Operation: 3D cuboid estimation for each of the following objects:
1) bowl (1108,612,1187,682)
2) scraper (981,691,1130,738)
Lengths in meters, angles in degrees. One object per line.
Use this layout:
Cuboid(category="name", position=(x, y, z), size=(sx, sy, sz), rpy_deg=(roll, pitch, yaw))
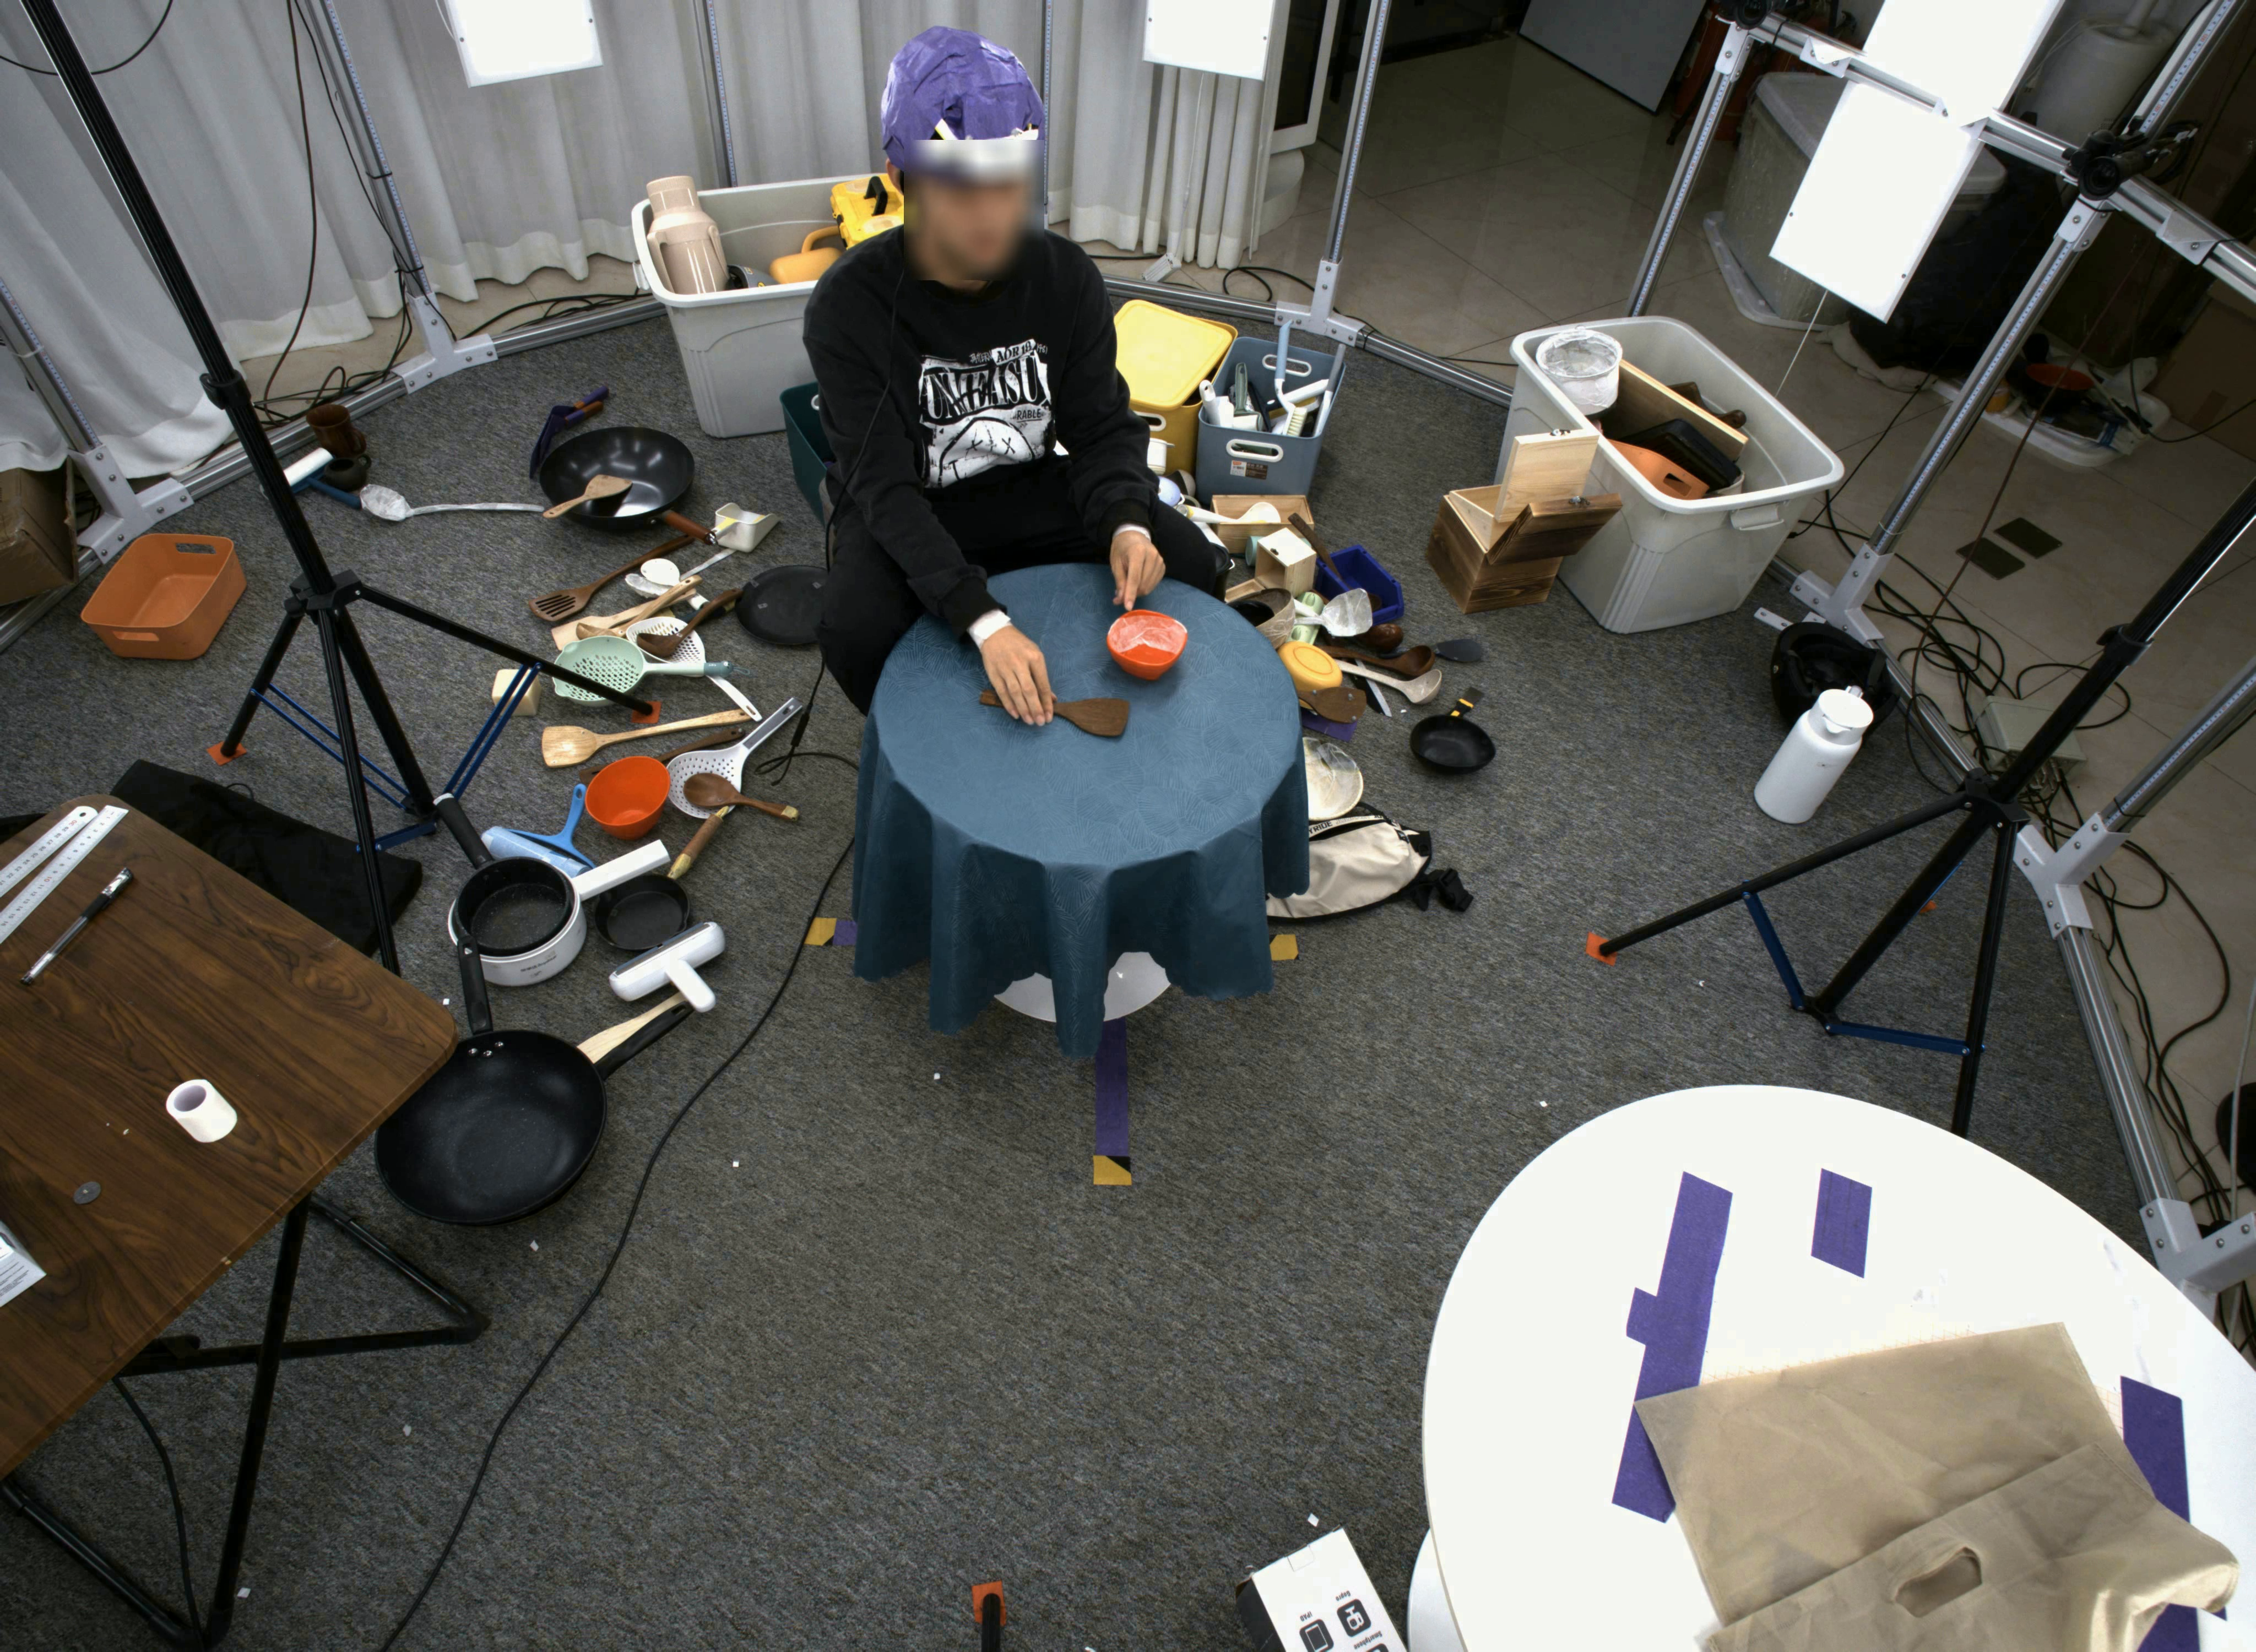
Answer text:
Cuboid(category="bowl", position=(0.027, -0.255, 1.877), size=(0.119, 0.050, 0.122), rpy_deg=(2, 51, -3))
Cuboid(category="scraper", position=(-0.103, -0.165, 1.816), size=(0.211, 0.010, 0.077), rpy_deg=(10, 48, 6))
